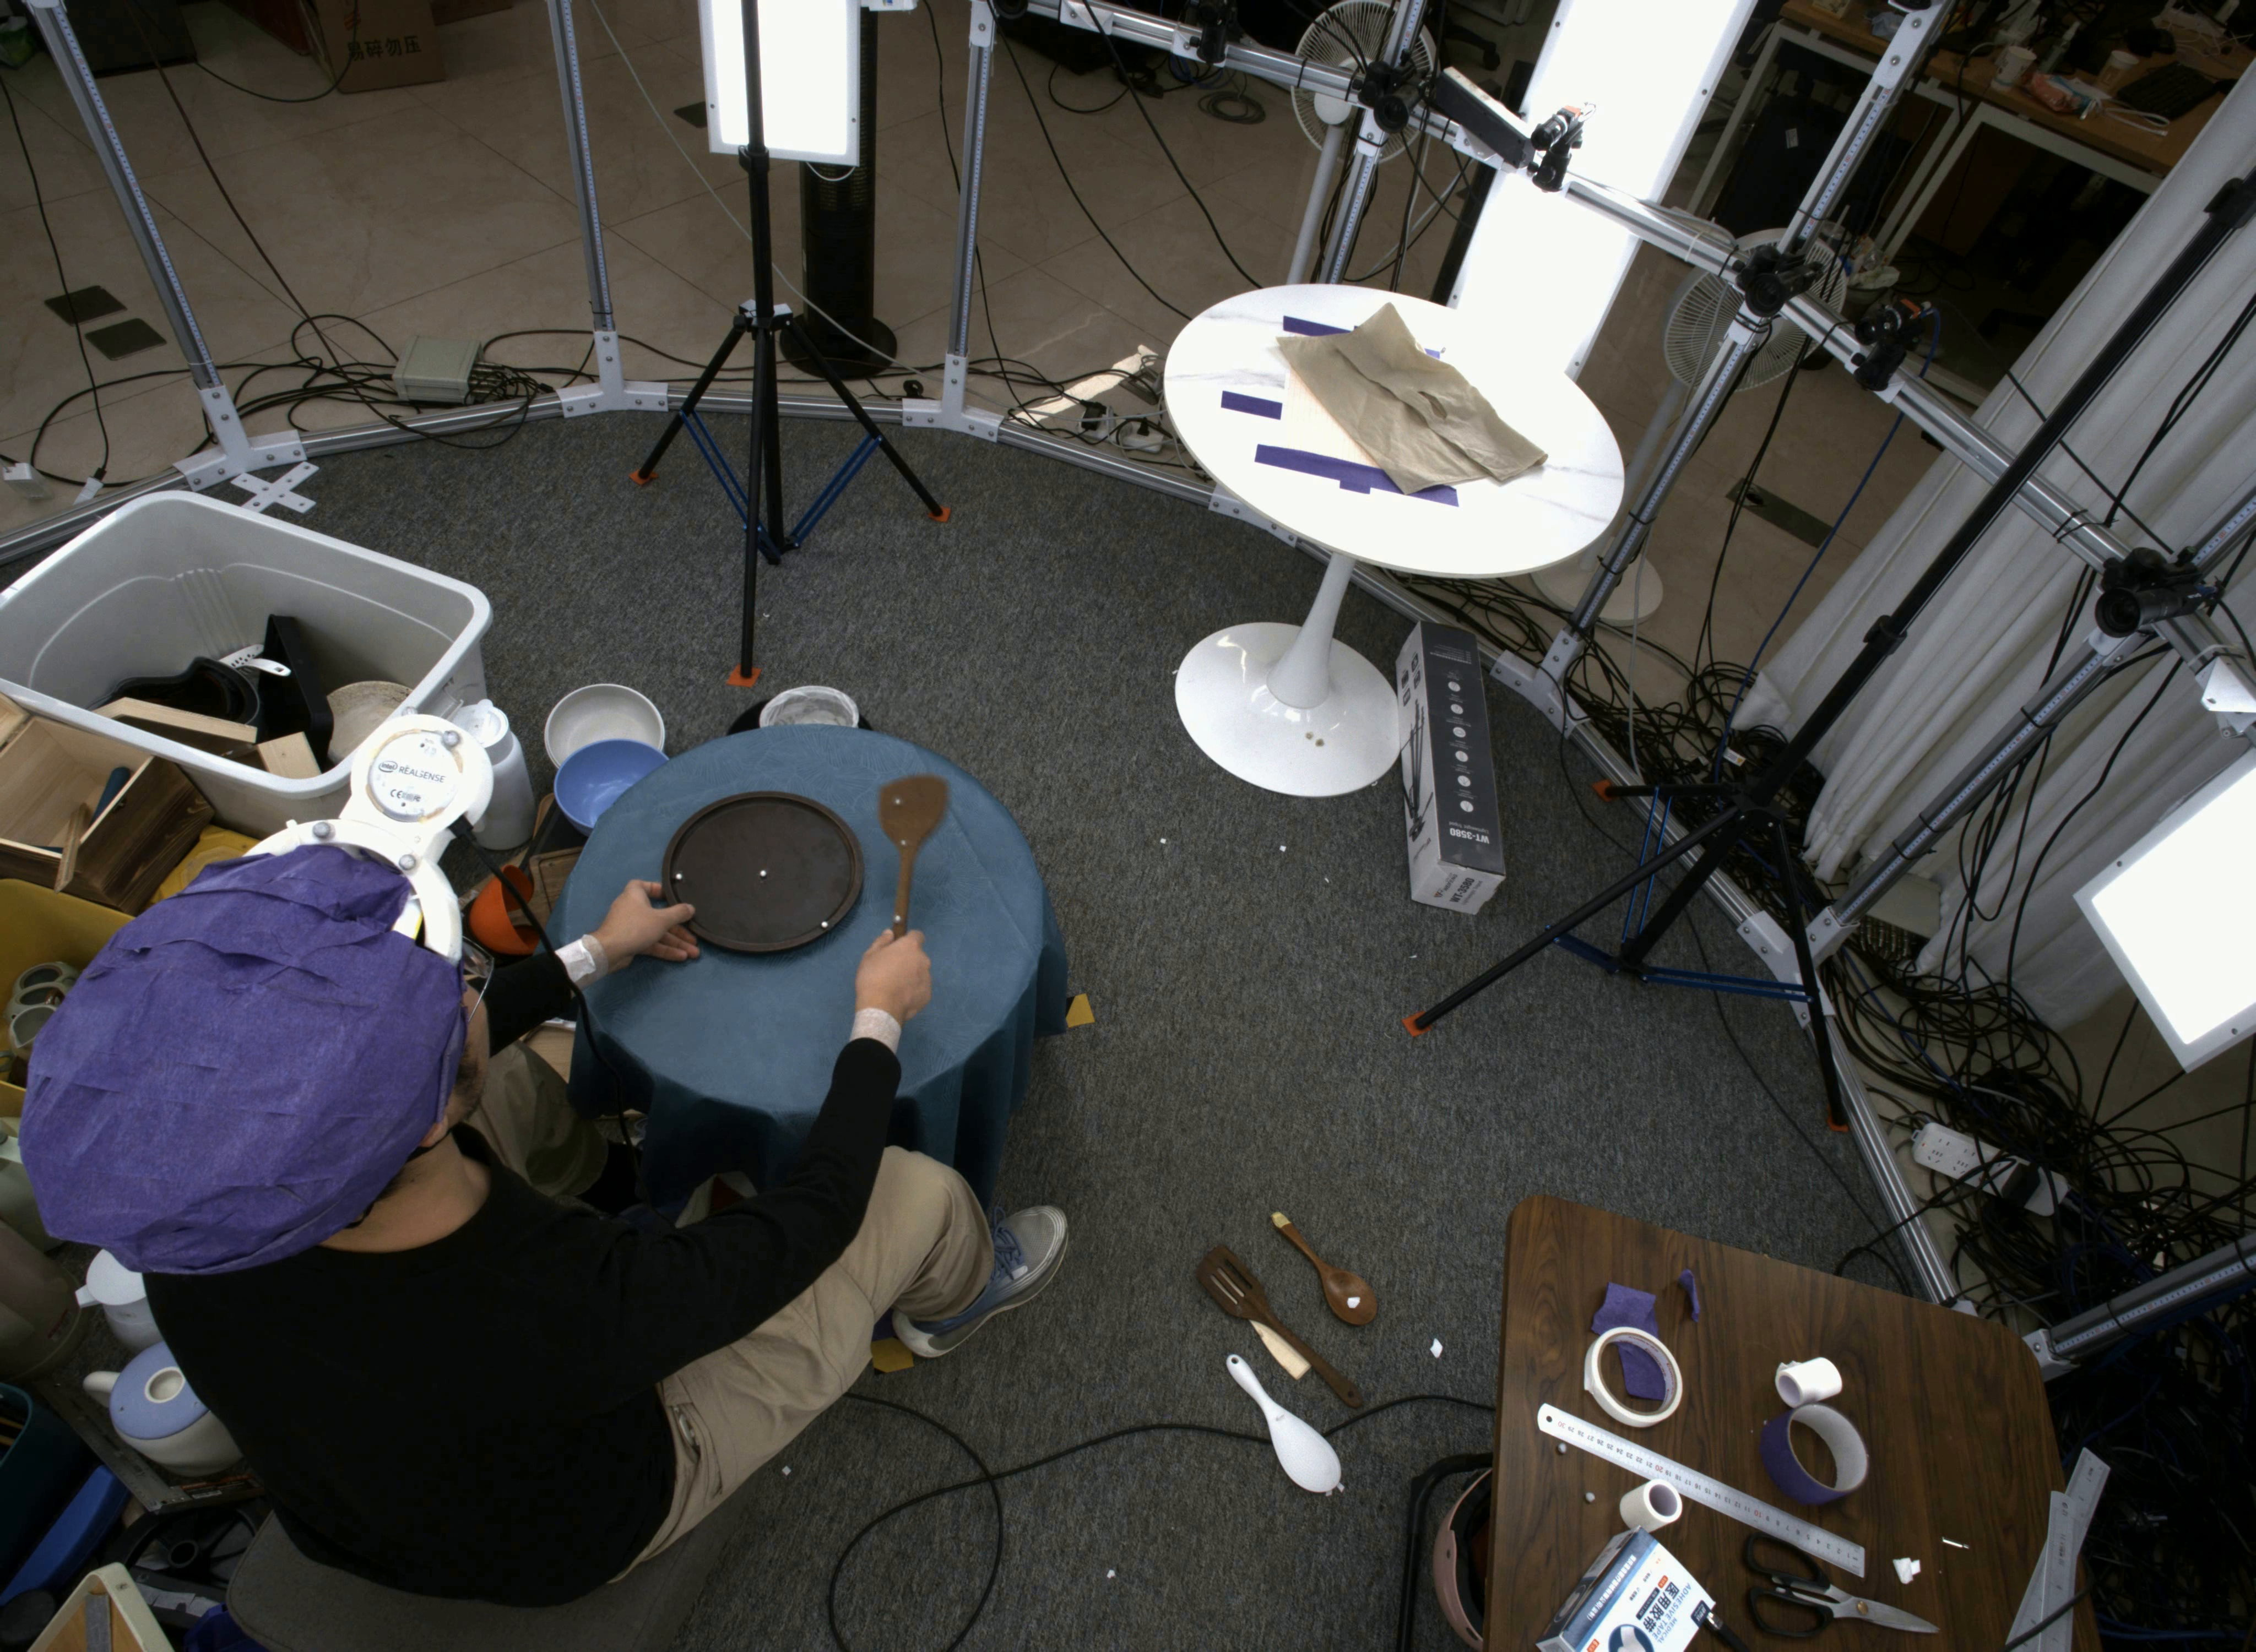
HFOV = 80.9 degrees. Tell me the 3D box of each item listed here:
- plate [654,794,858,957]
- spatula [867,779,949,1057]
[{"bbox_3d":[-0.472,0.059,1.648,0.254,0.029,0.250,9,52,-10],"label":"plate"},{"bbox_3d":[-0.275,0.097,1.560,0.094,0.016,0.379,-4,54,8],"label":"spatula"}]
